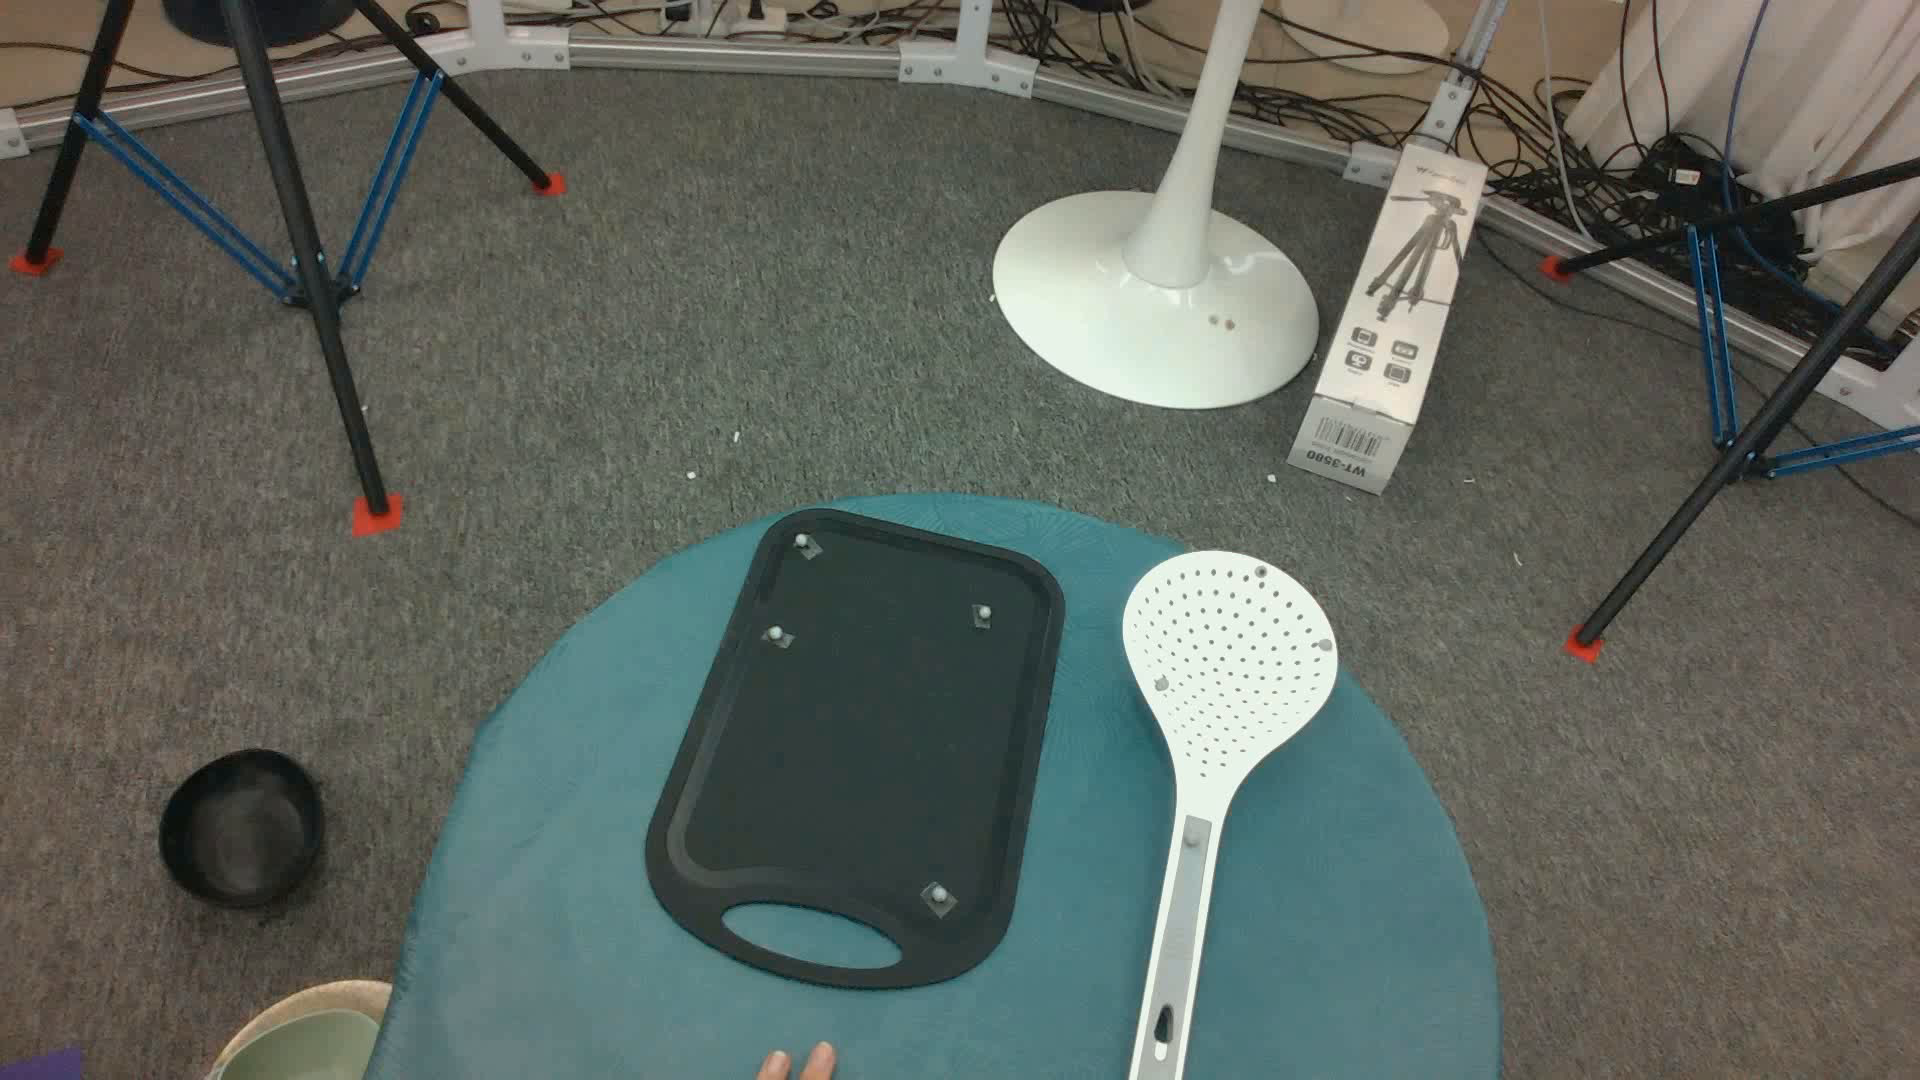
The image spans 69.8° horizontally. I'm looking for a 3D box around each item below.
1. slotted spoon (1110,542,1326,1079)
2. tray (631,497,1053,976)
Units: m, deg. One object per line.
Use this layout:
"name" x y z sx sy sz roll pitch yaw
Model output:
"slotted spoon" 0.136 0.145 0.811 0.136 0.045 0.351 15 50 5
"tray" -0.062 0.105 0.833 0.211 0.010 0.327 13 49 1
